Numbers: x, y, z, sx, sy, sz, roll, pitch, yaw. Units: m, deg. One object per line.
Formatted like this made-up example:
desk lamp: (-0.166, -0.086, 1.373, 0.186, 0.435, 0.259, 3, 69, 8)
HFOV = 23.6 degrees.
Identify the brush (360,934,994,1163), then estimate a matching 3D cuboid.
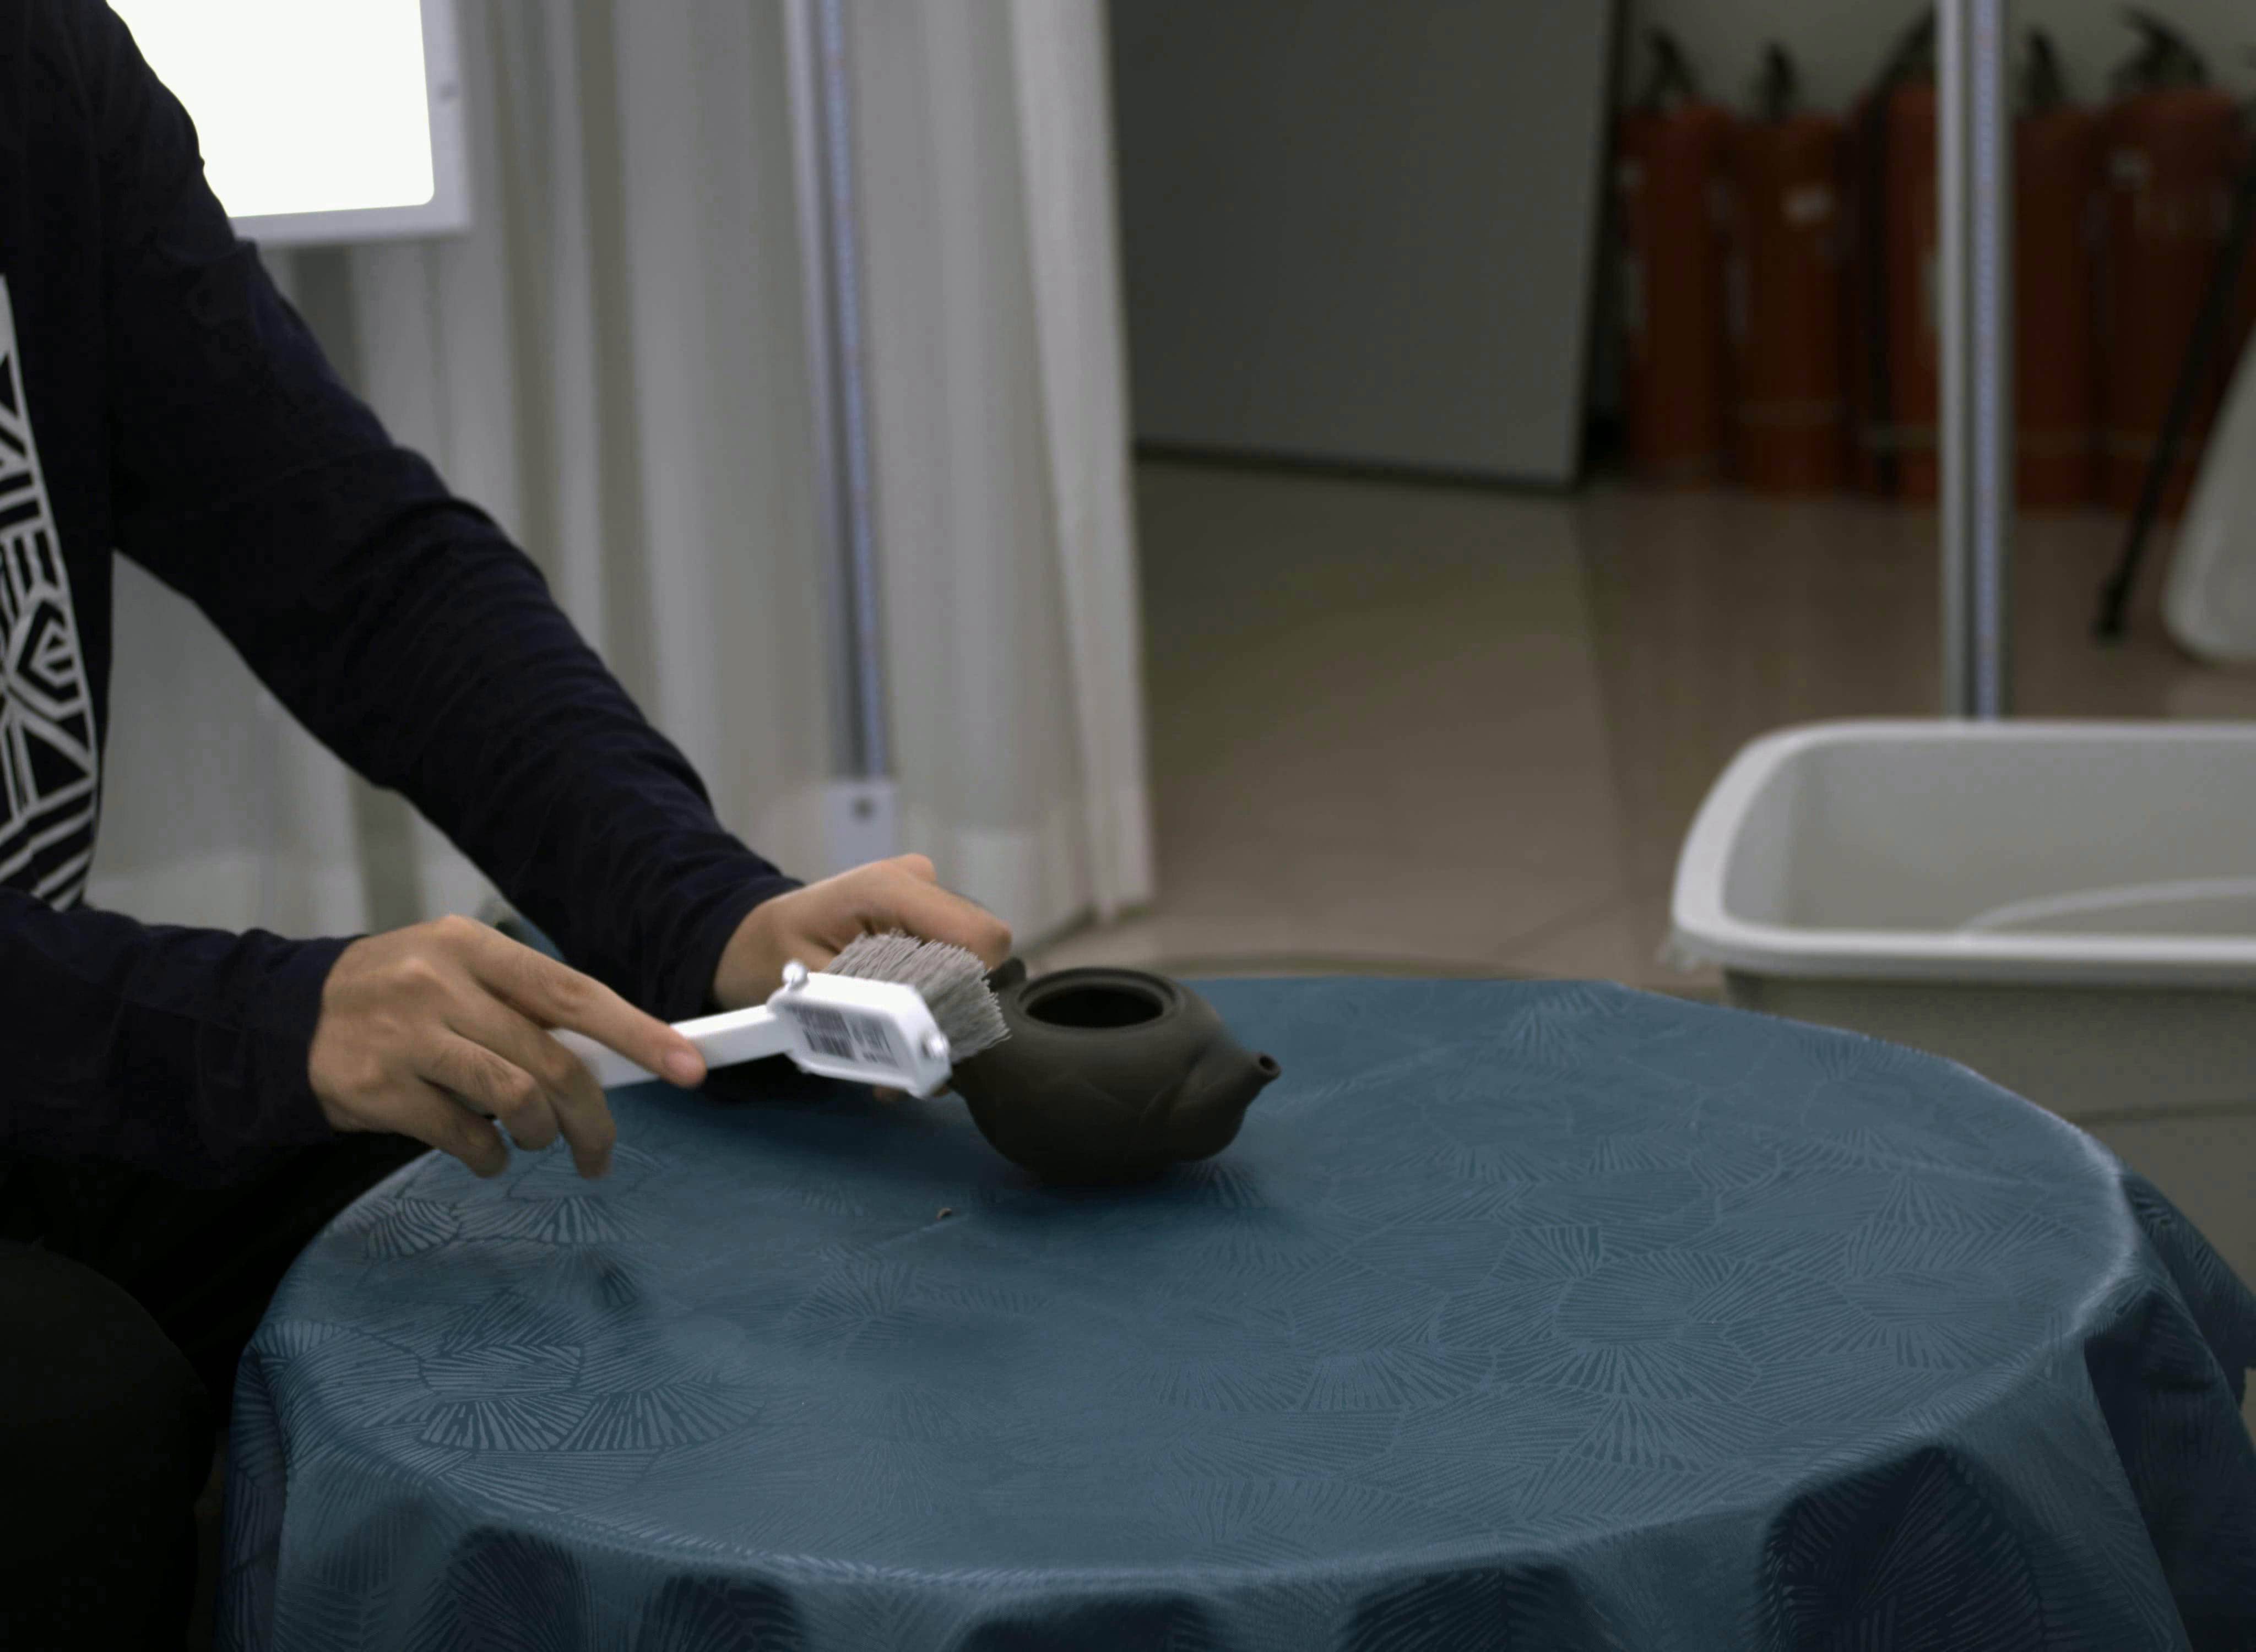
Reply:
brush: (-0.146, 0.072, 1.742, 0.245, 0.034, 0.050, -12, 22, 35)

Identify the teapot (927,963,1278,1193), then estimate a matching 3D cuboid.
teapot: (-0.012, 0.083, 1.795, 0.155, 0.065, 0.090, 14, 24, 37)
